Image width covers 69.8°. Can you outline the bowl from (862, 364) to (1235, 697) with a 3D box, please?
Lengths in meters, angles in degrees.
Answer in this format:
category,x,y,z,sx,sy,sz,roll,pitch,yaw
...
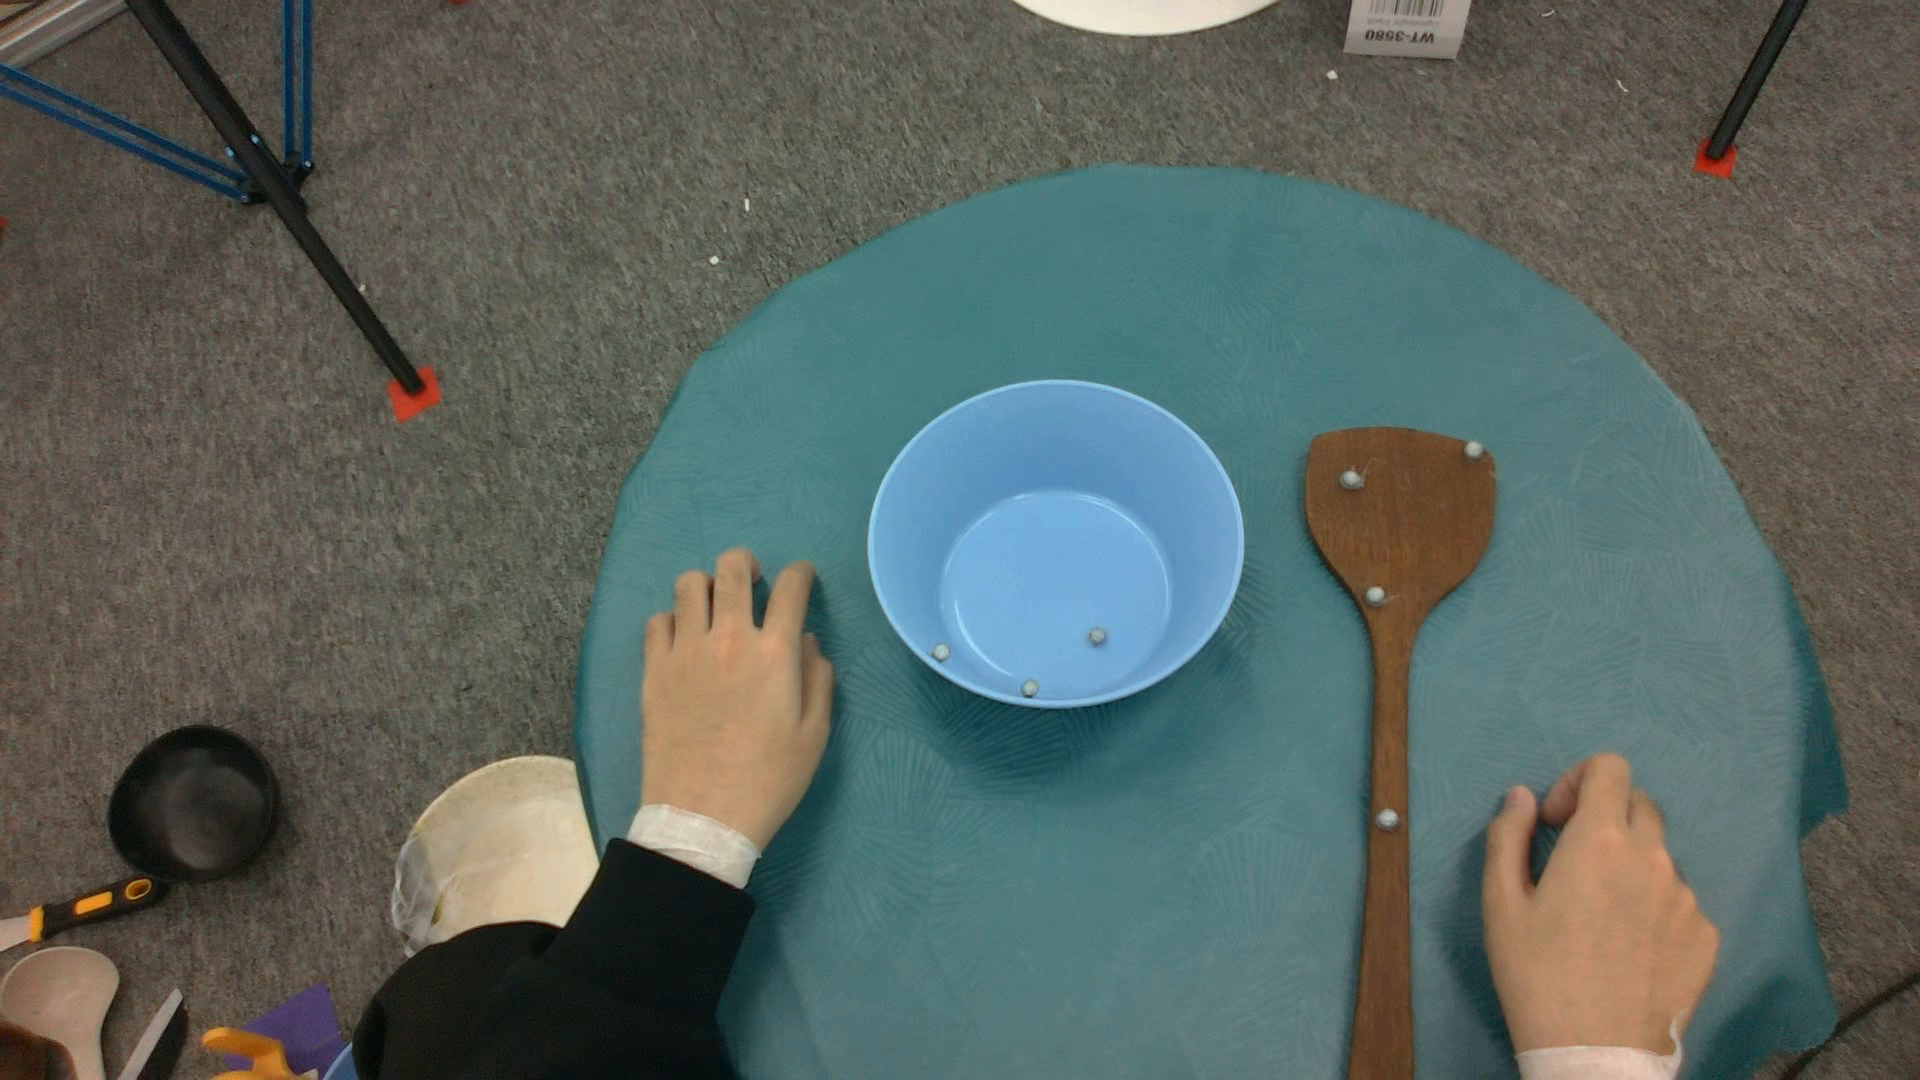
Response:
category,x,y,z,sx,sy,sz,roll,pitch,yaw
bowl,0.043,0.005,0.673,0.176,0.070,0.177,-2,62,4

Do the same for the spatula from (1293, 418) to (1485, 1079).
category,x,y,z,sx,sy,sz,roll,pitch,yaw
spatula,0.195,0.105,0.638,0.096,0.016,0.387,6,62,8
